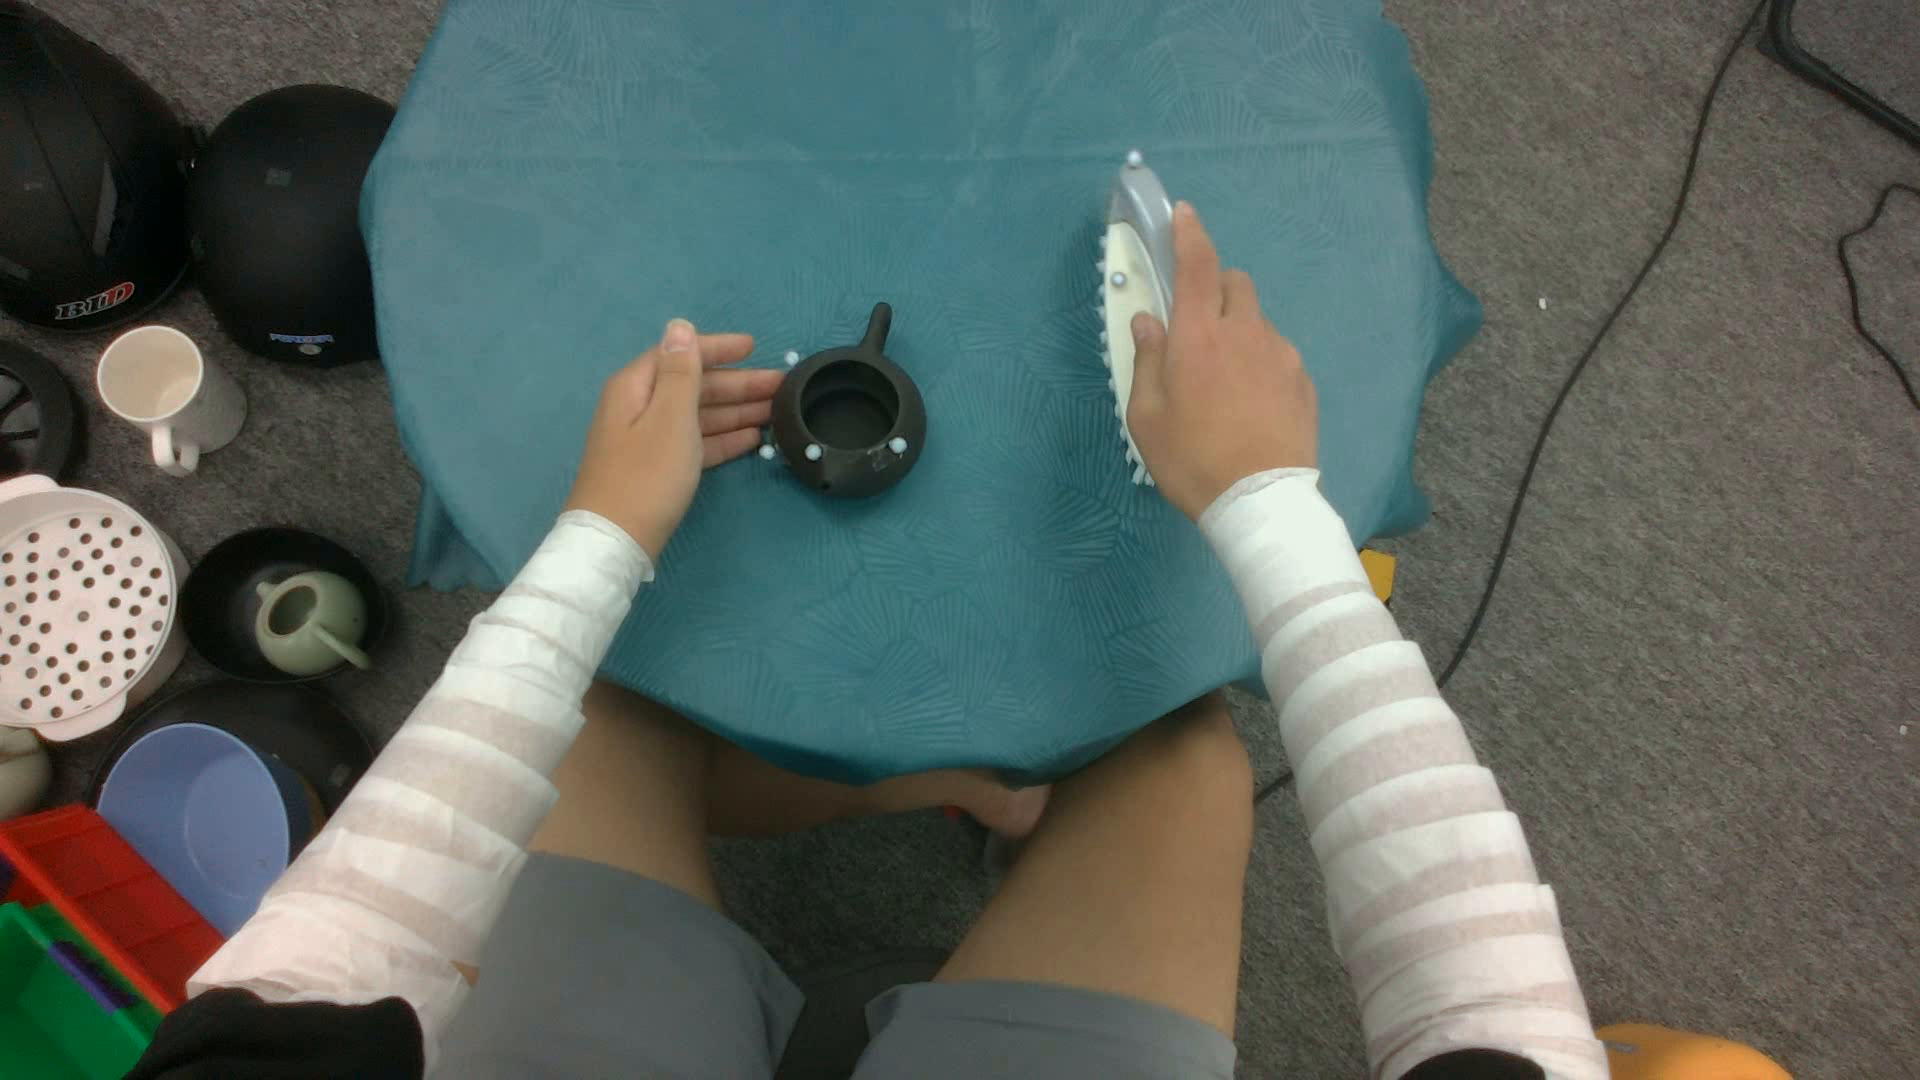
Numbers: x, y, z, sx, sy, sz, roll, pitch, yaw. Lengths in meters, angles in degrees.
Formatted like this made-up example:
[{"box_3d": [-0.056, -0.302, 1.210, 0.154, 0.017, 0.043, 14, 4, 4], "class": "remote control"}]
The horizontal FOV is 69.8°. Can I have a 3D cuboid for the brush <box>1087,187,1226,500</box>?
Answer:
[{"box_3d": [0.103, -0.116, 0.738, 0.061, 0.094, 0.176, -9, 78, -6], "class": "brush"}]

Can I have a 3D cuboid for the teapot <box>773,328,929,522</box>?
[{"box_3d": [-0.055, -0.062, 0.739, 0.083, 0.053, 0.114, 16, 75, -2], "class": "teapot"}]
